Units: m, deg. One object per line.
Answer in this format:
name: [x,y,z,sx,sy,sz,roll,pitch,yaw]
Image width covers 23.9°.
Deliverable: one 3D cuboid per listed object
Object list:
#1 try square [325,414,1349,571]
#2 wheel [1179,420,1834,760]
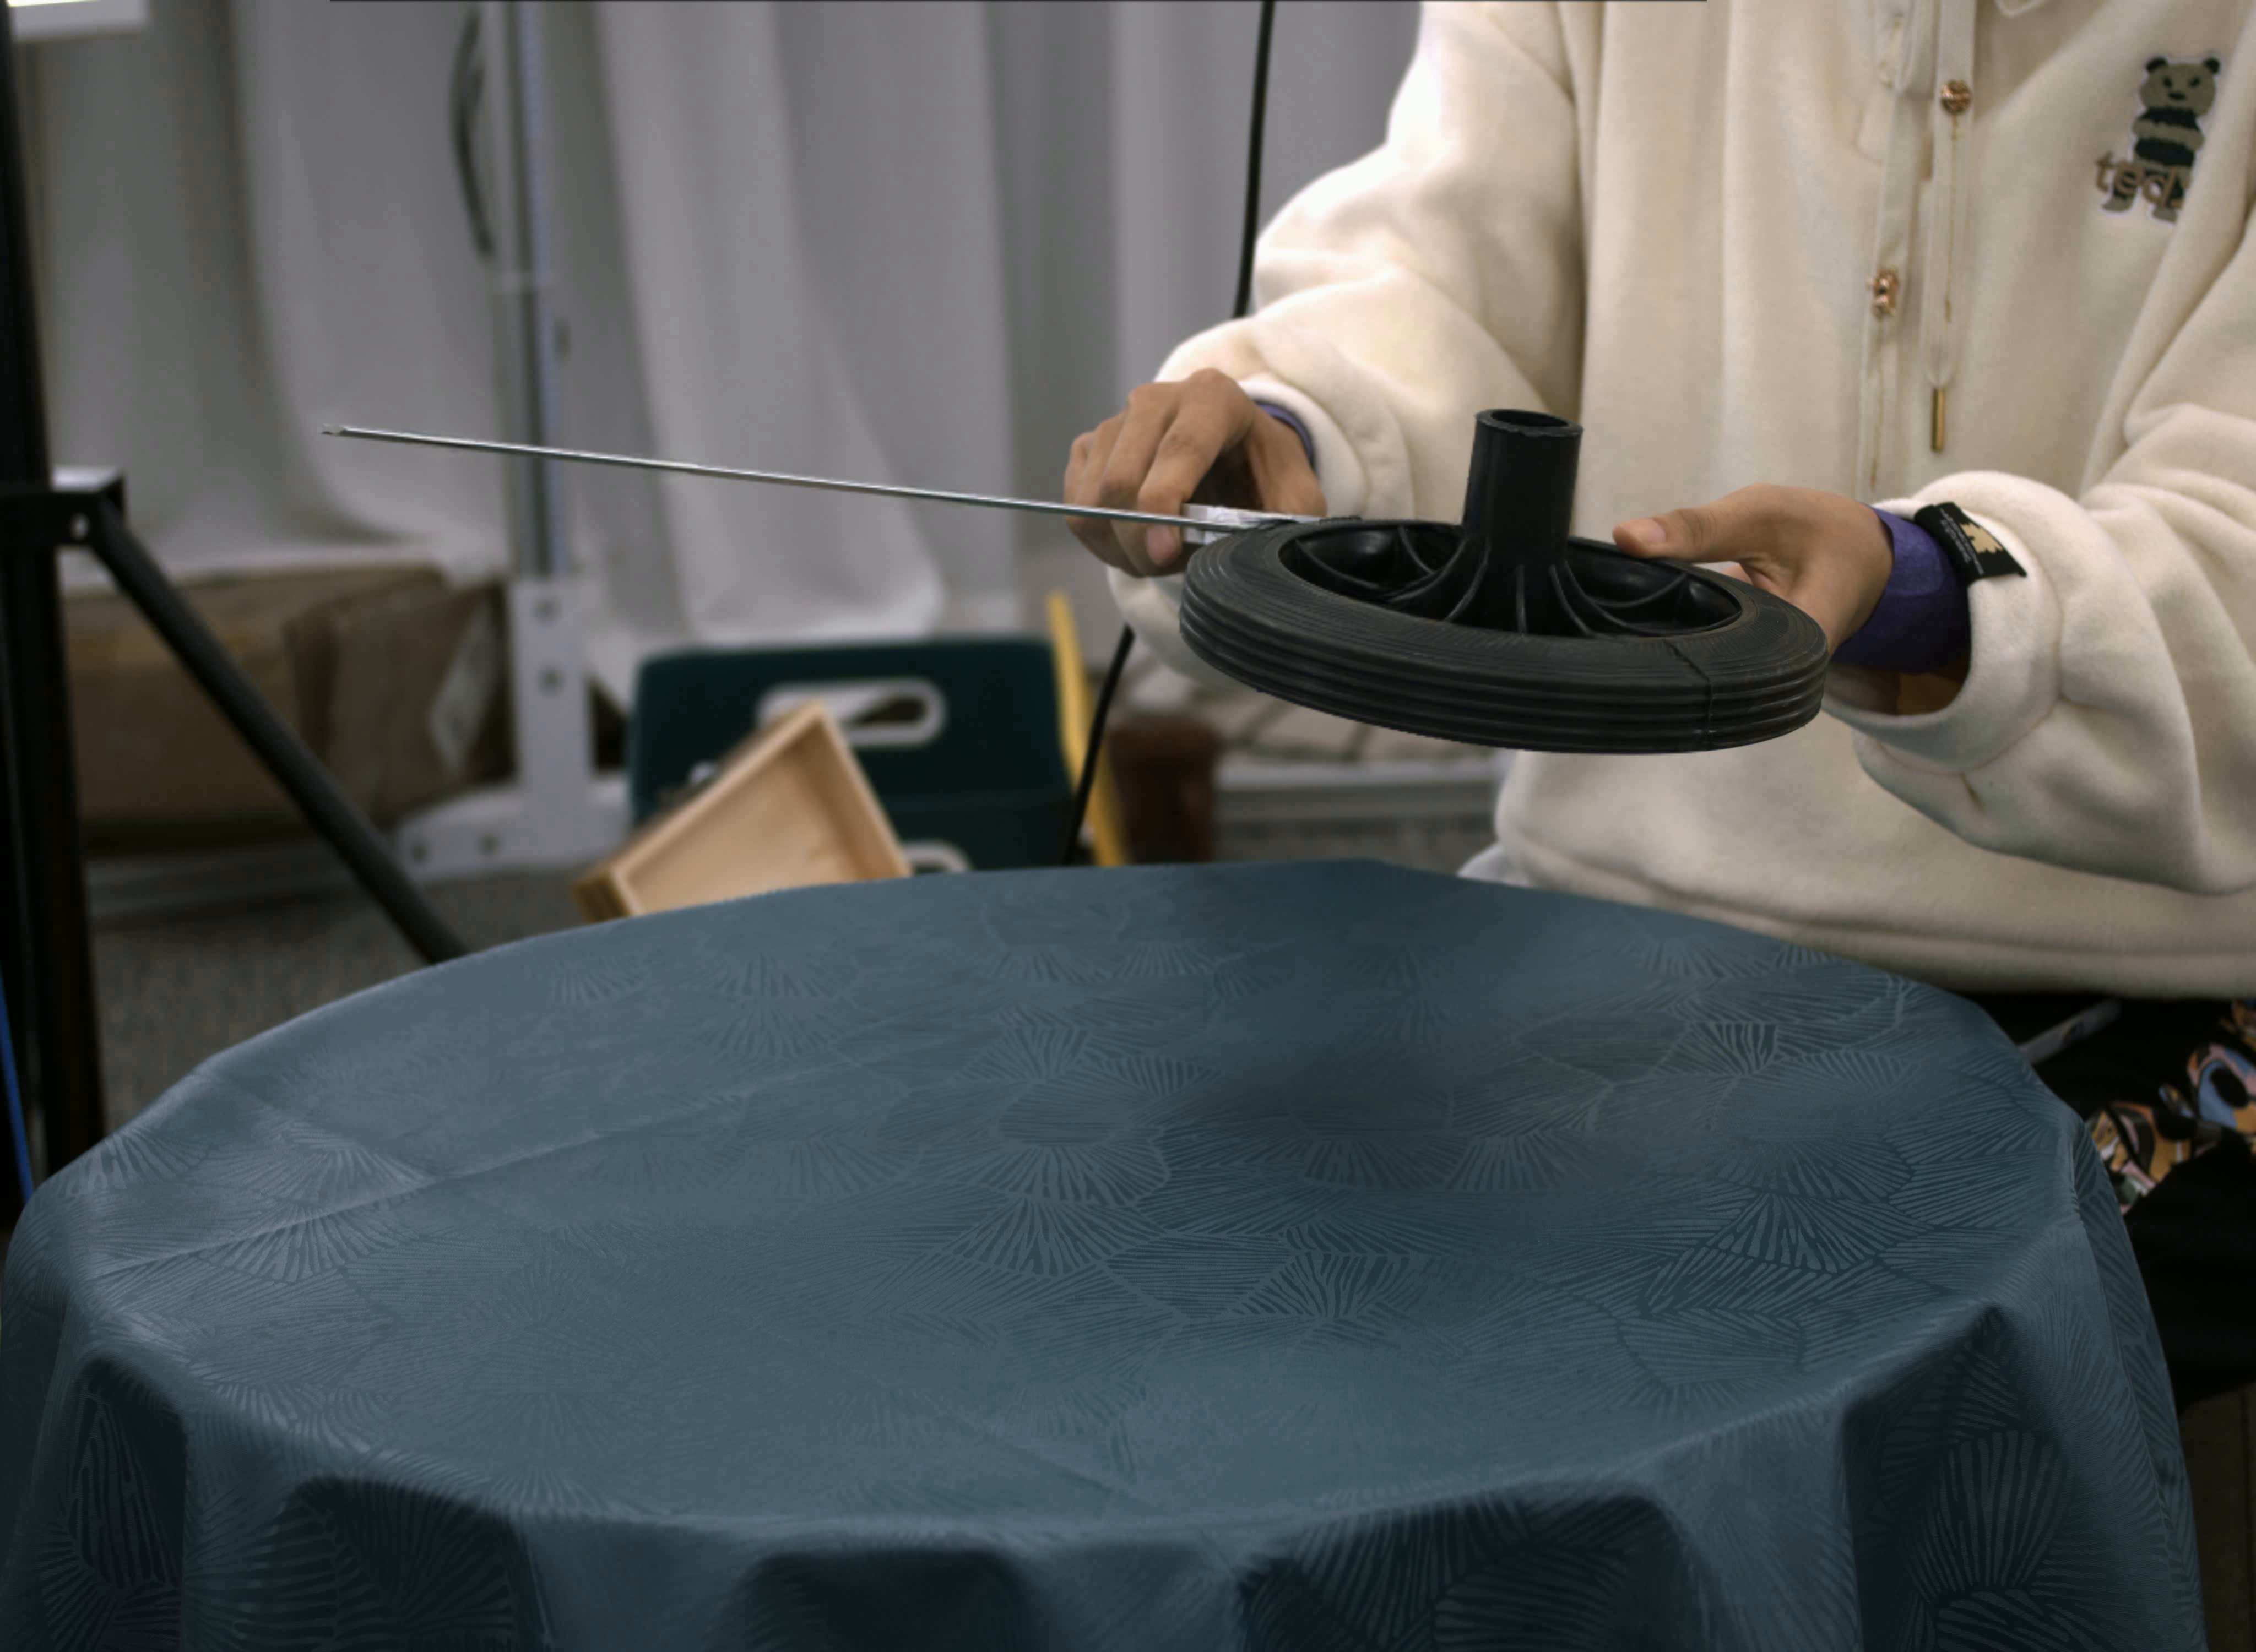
try square: [-0.100,-0.103,1.640,0.307,0.016,0.154,5,-1,-17]
wheel: [0.112,-0.074,1.529,0.189,0.079,0.187,7,15,2]
